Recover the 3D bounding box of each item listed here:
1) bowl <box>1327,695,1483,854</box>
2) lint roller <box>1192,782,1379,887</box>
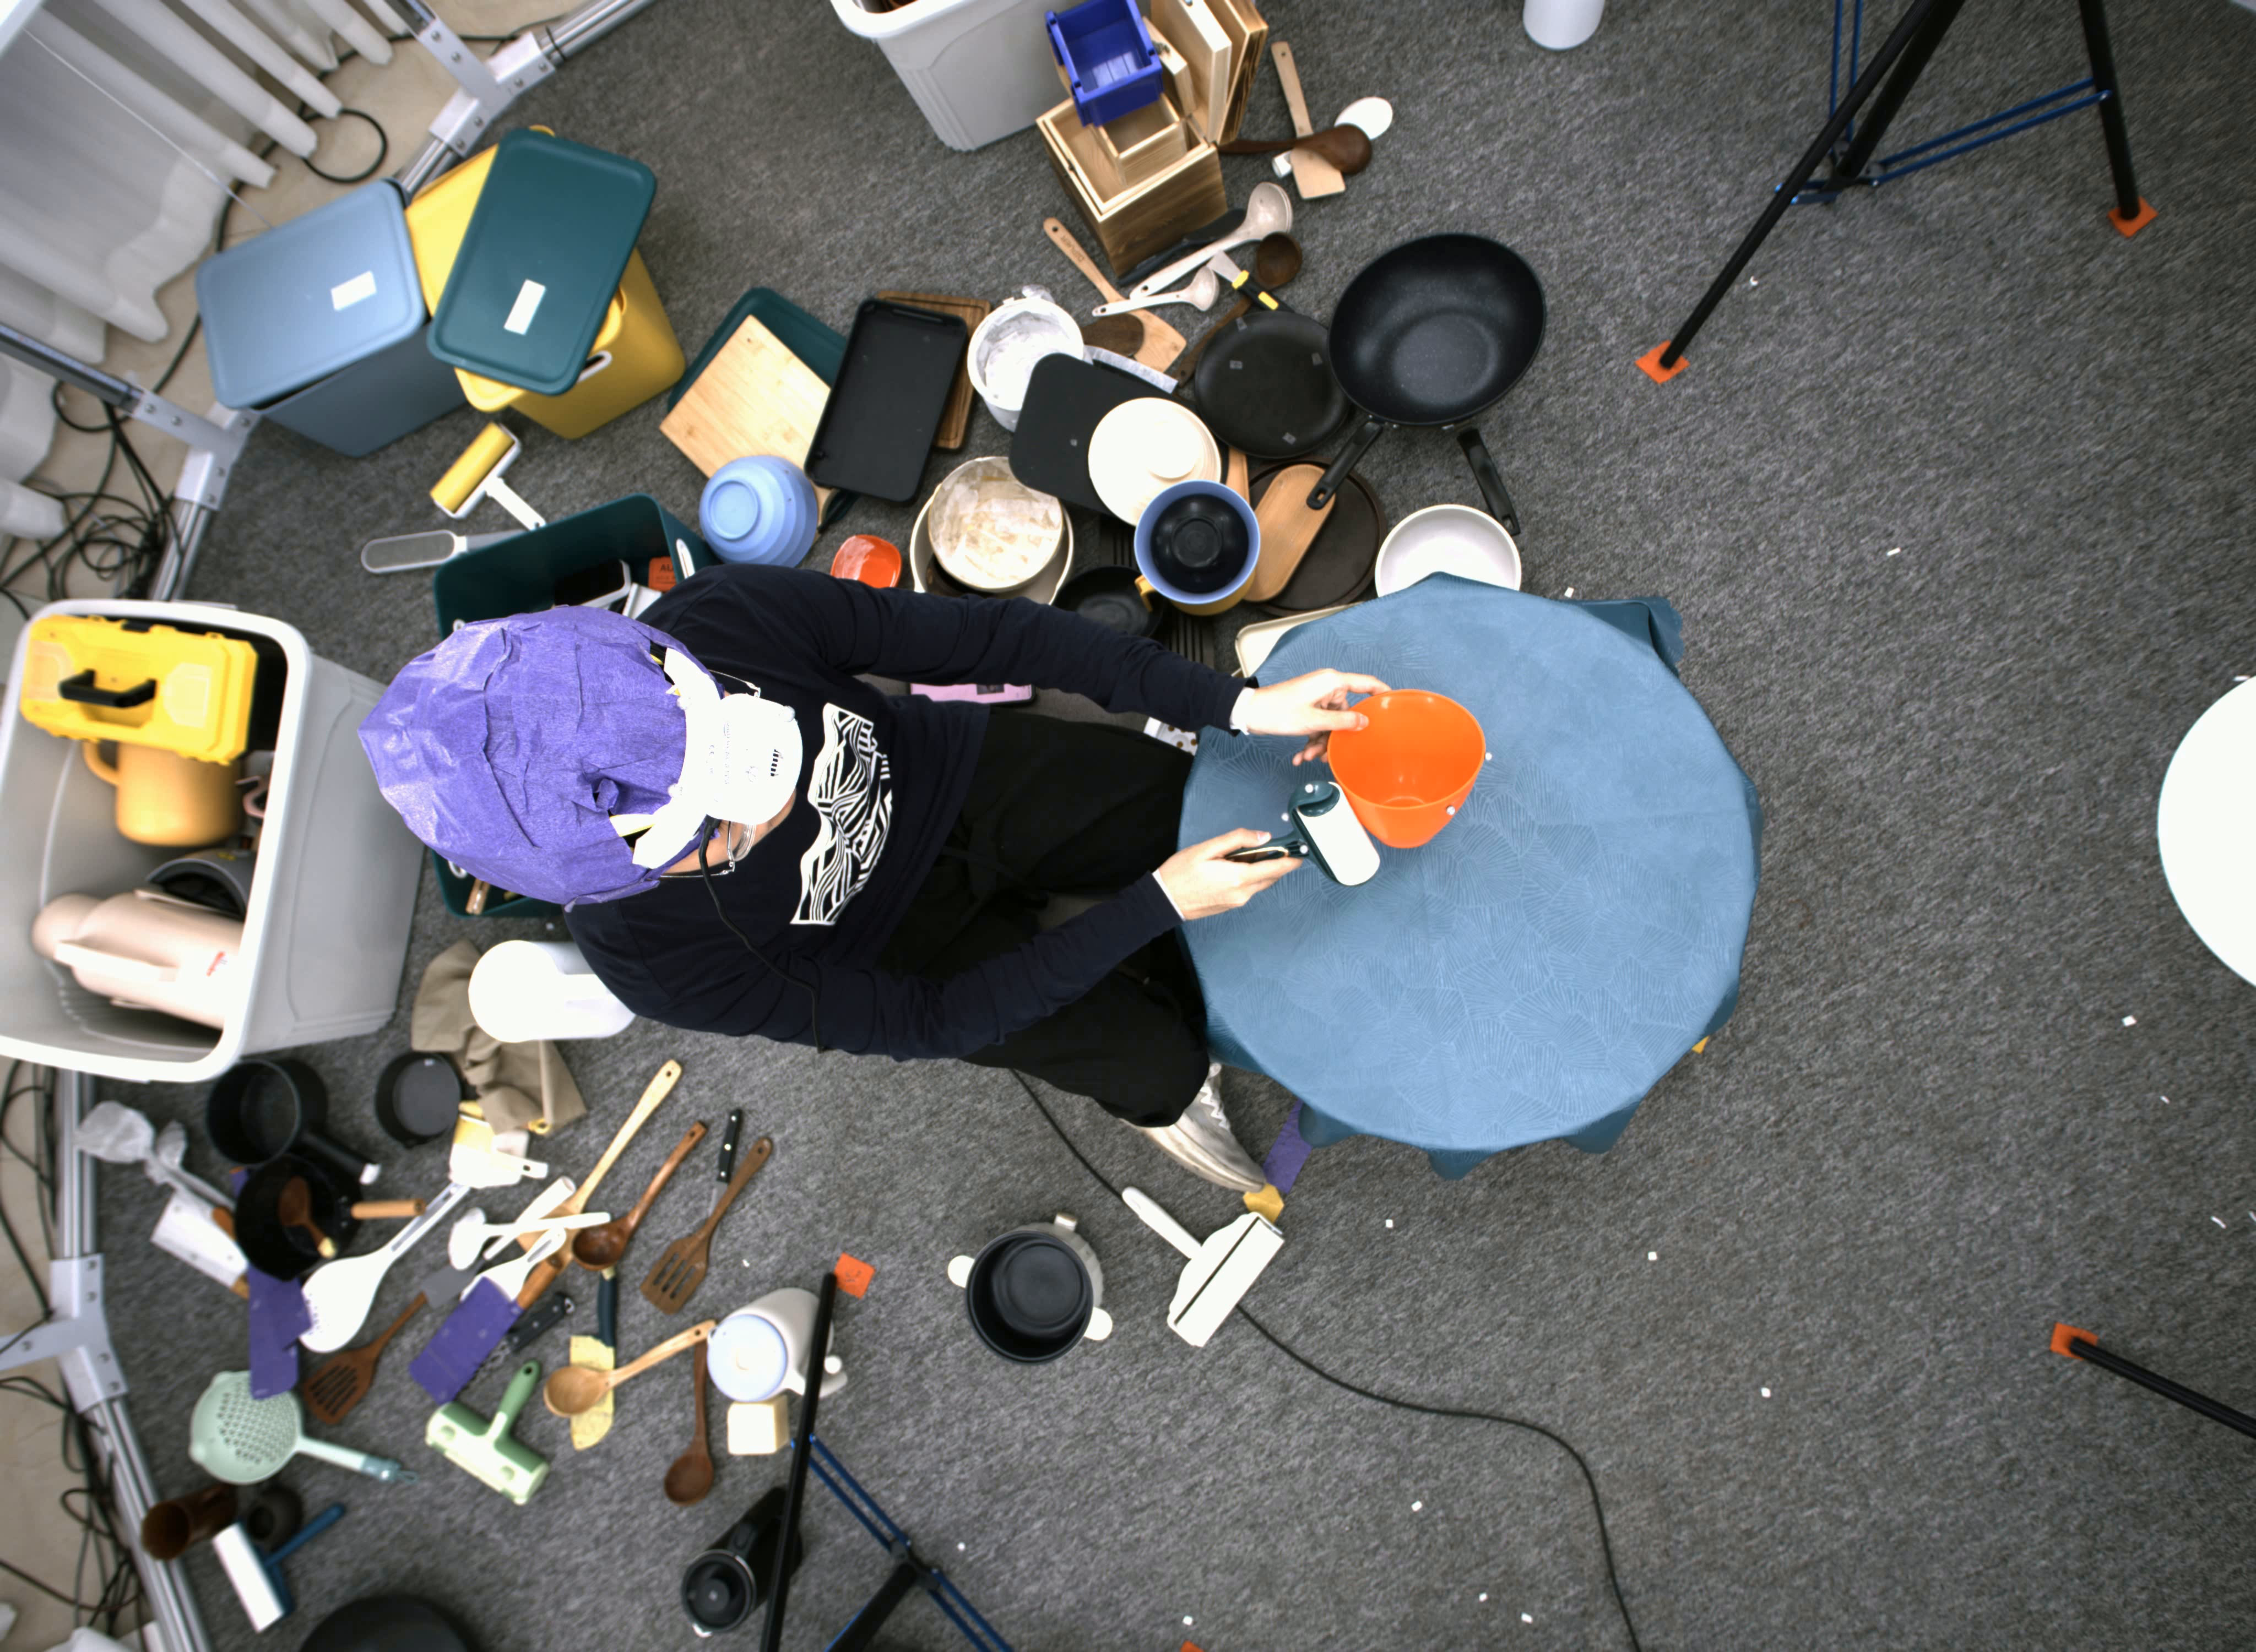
[{"bbox_3d":[0.269,-0.042,1.337,0.148,0.107,0.144,-8,43,7],"label":"bowl"},{"bbox_3d":[0.144,0.028,1.356,0.182,0.136,0.047,-19,42,22],"label":"lint roller"}]
